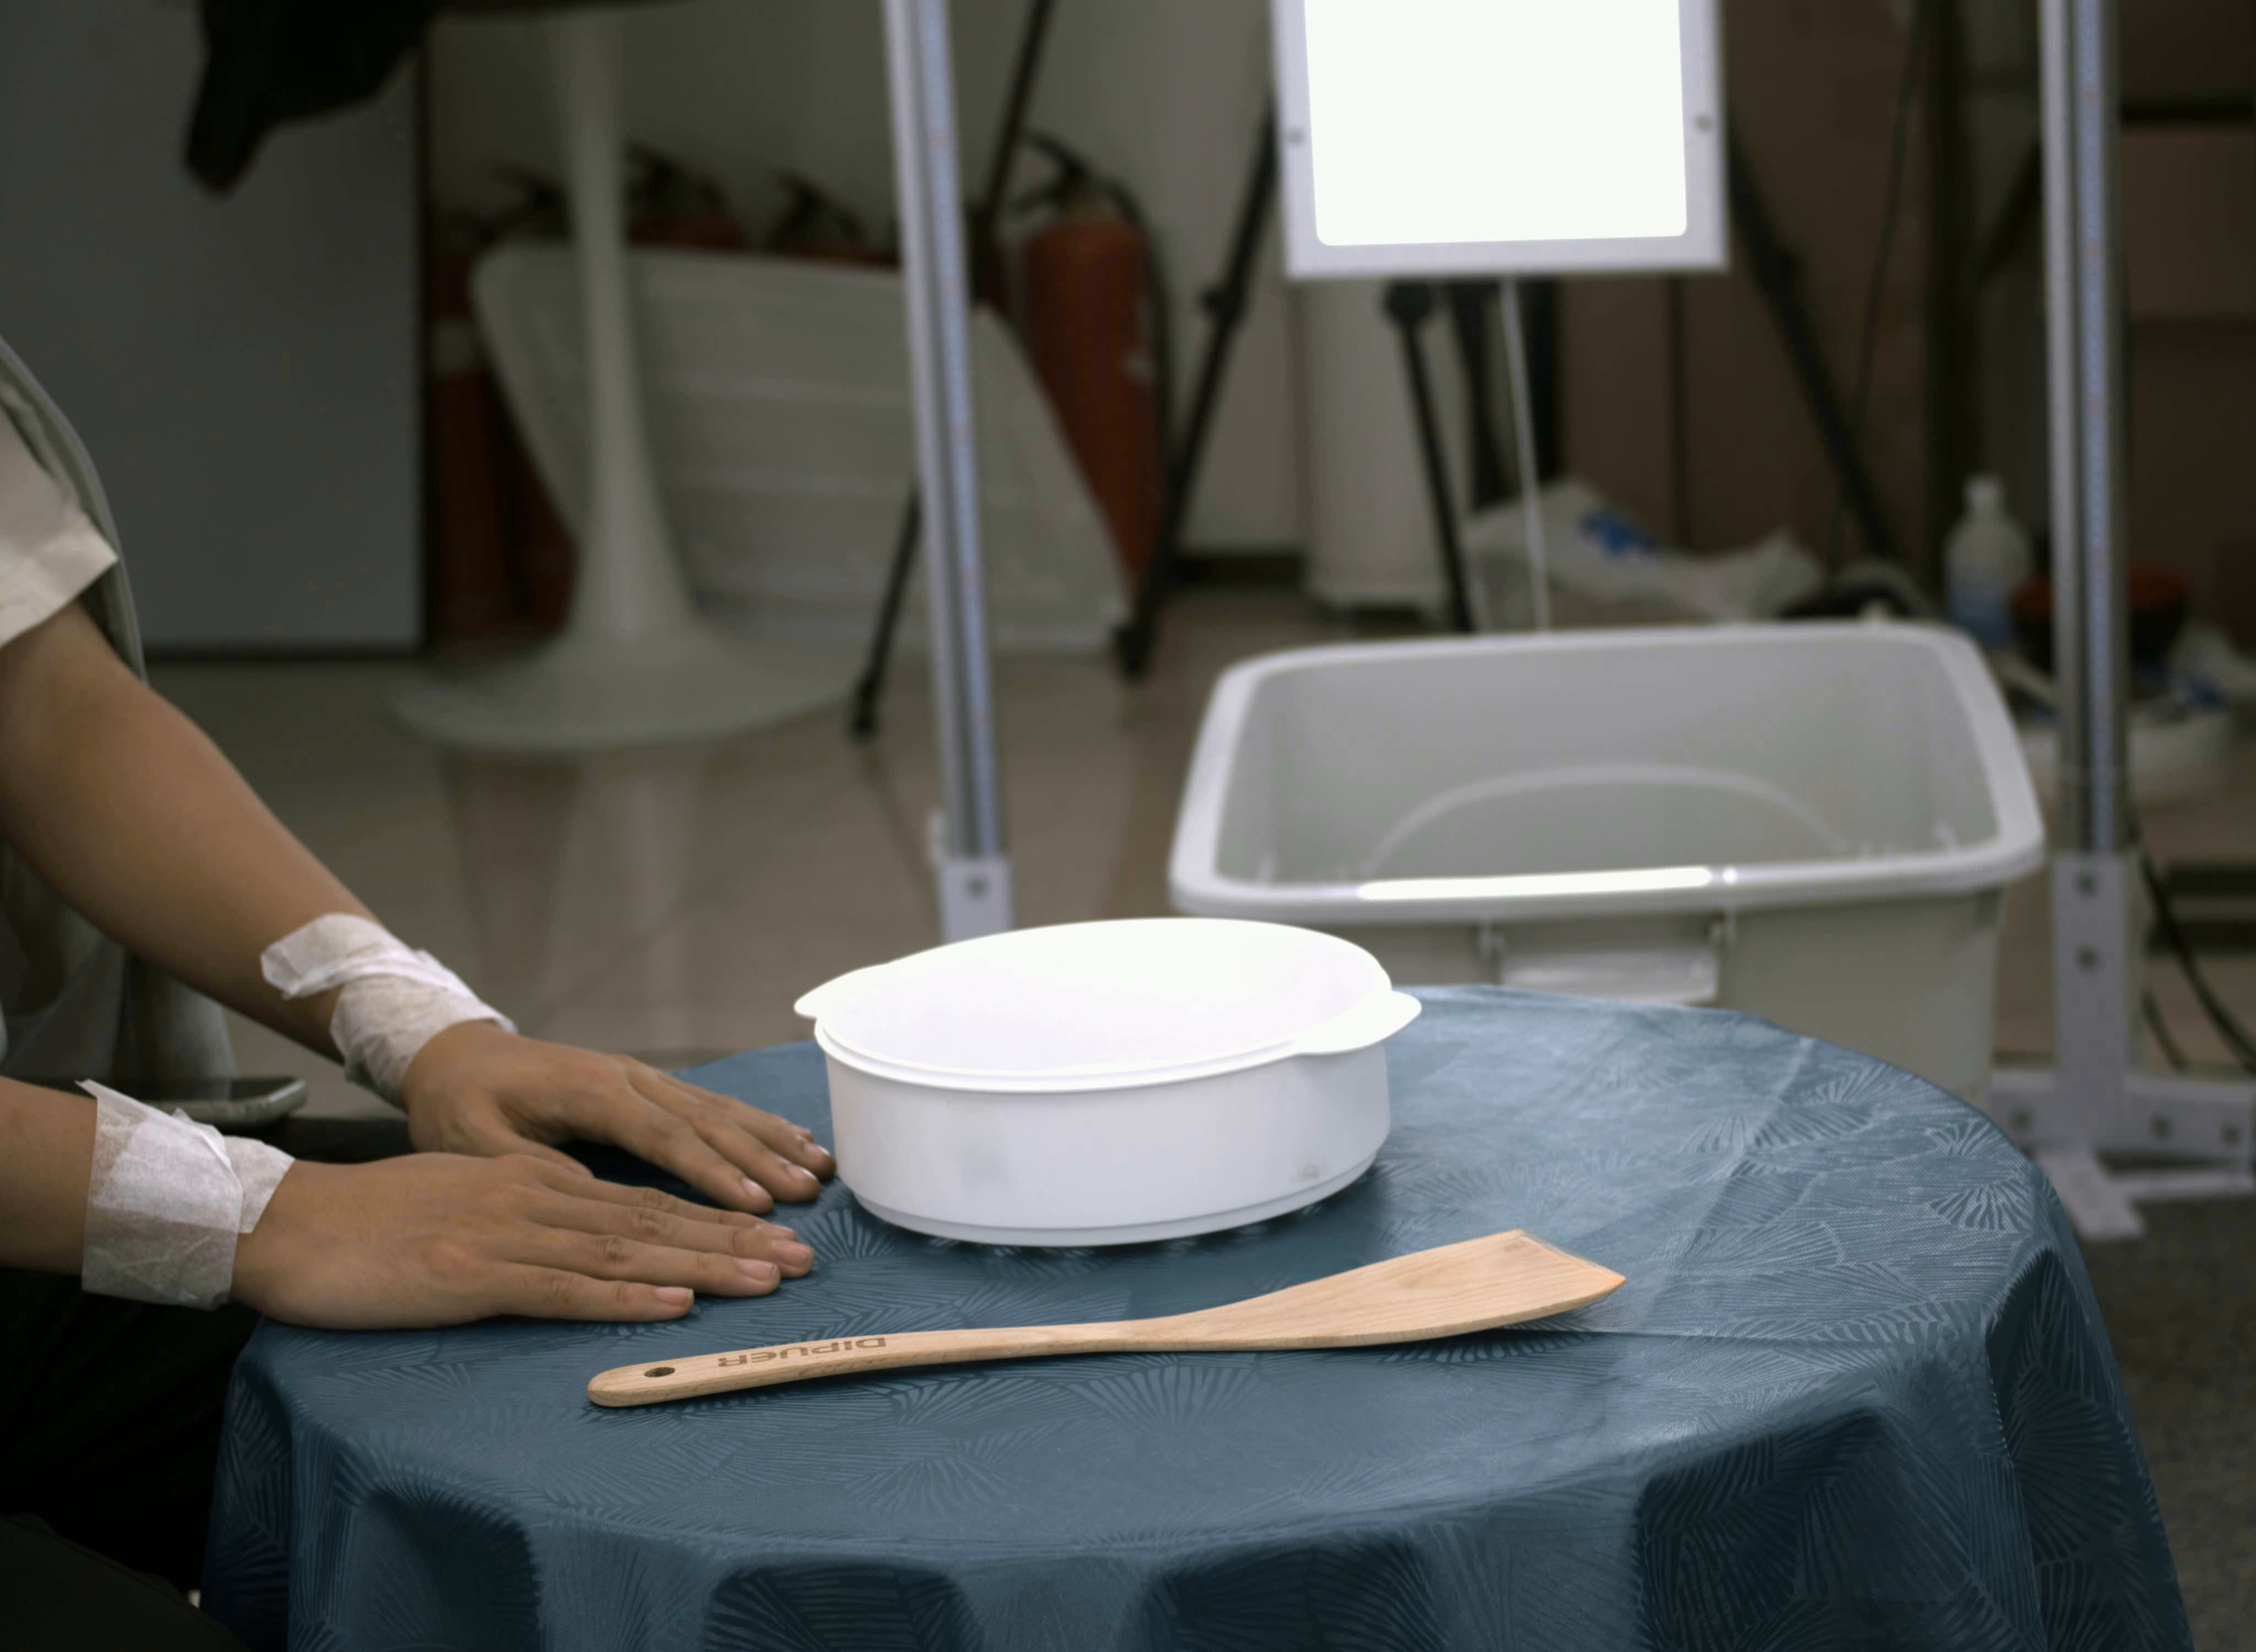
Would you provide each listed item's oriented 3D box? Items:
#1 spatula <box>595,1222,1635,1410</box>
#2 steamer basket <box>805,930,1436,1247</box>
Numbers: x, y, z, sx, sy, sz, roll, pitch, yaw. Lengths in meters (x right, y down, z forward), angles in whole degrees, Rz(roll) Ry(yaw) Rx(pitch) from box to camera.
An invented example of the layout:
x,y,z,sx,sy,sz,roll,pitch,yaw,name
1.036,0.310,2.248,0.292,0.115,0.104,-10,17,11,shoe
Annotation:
x,y,z,sx,sy,sz,roll,pitch,yaw,name
-0.006,0.157,1.738,0.326,0.016,0.080,-6,13,-2,spatula
-0.002,0.091,1.907,0.235,0.069,0.197,2,14,30,steamer basket
